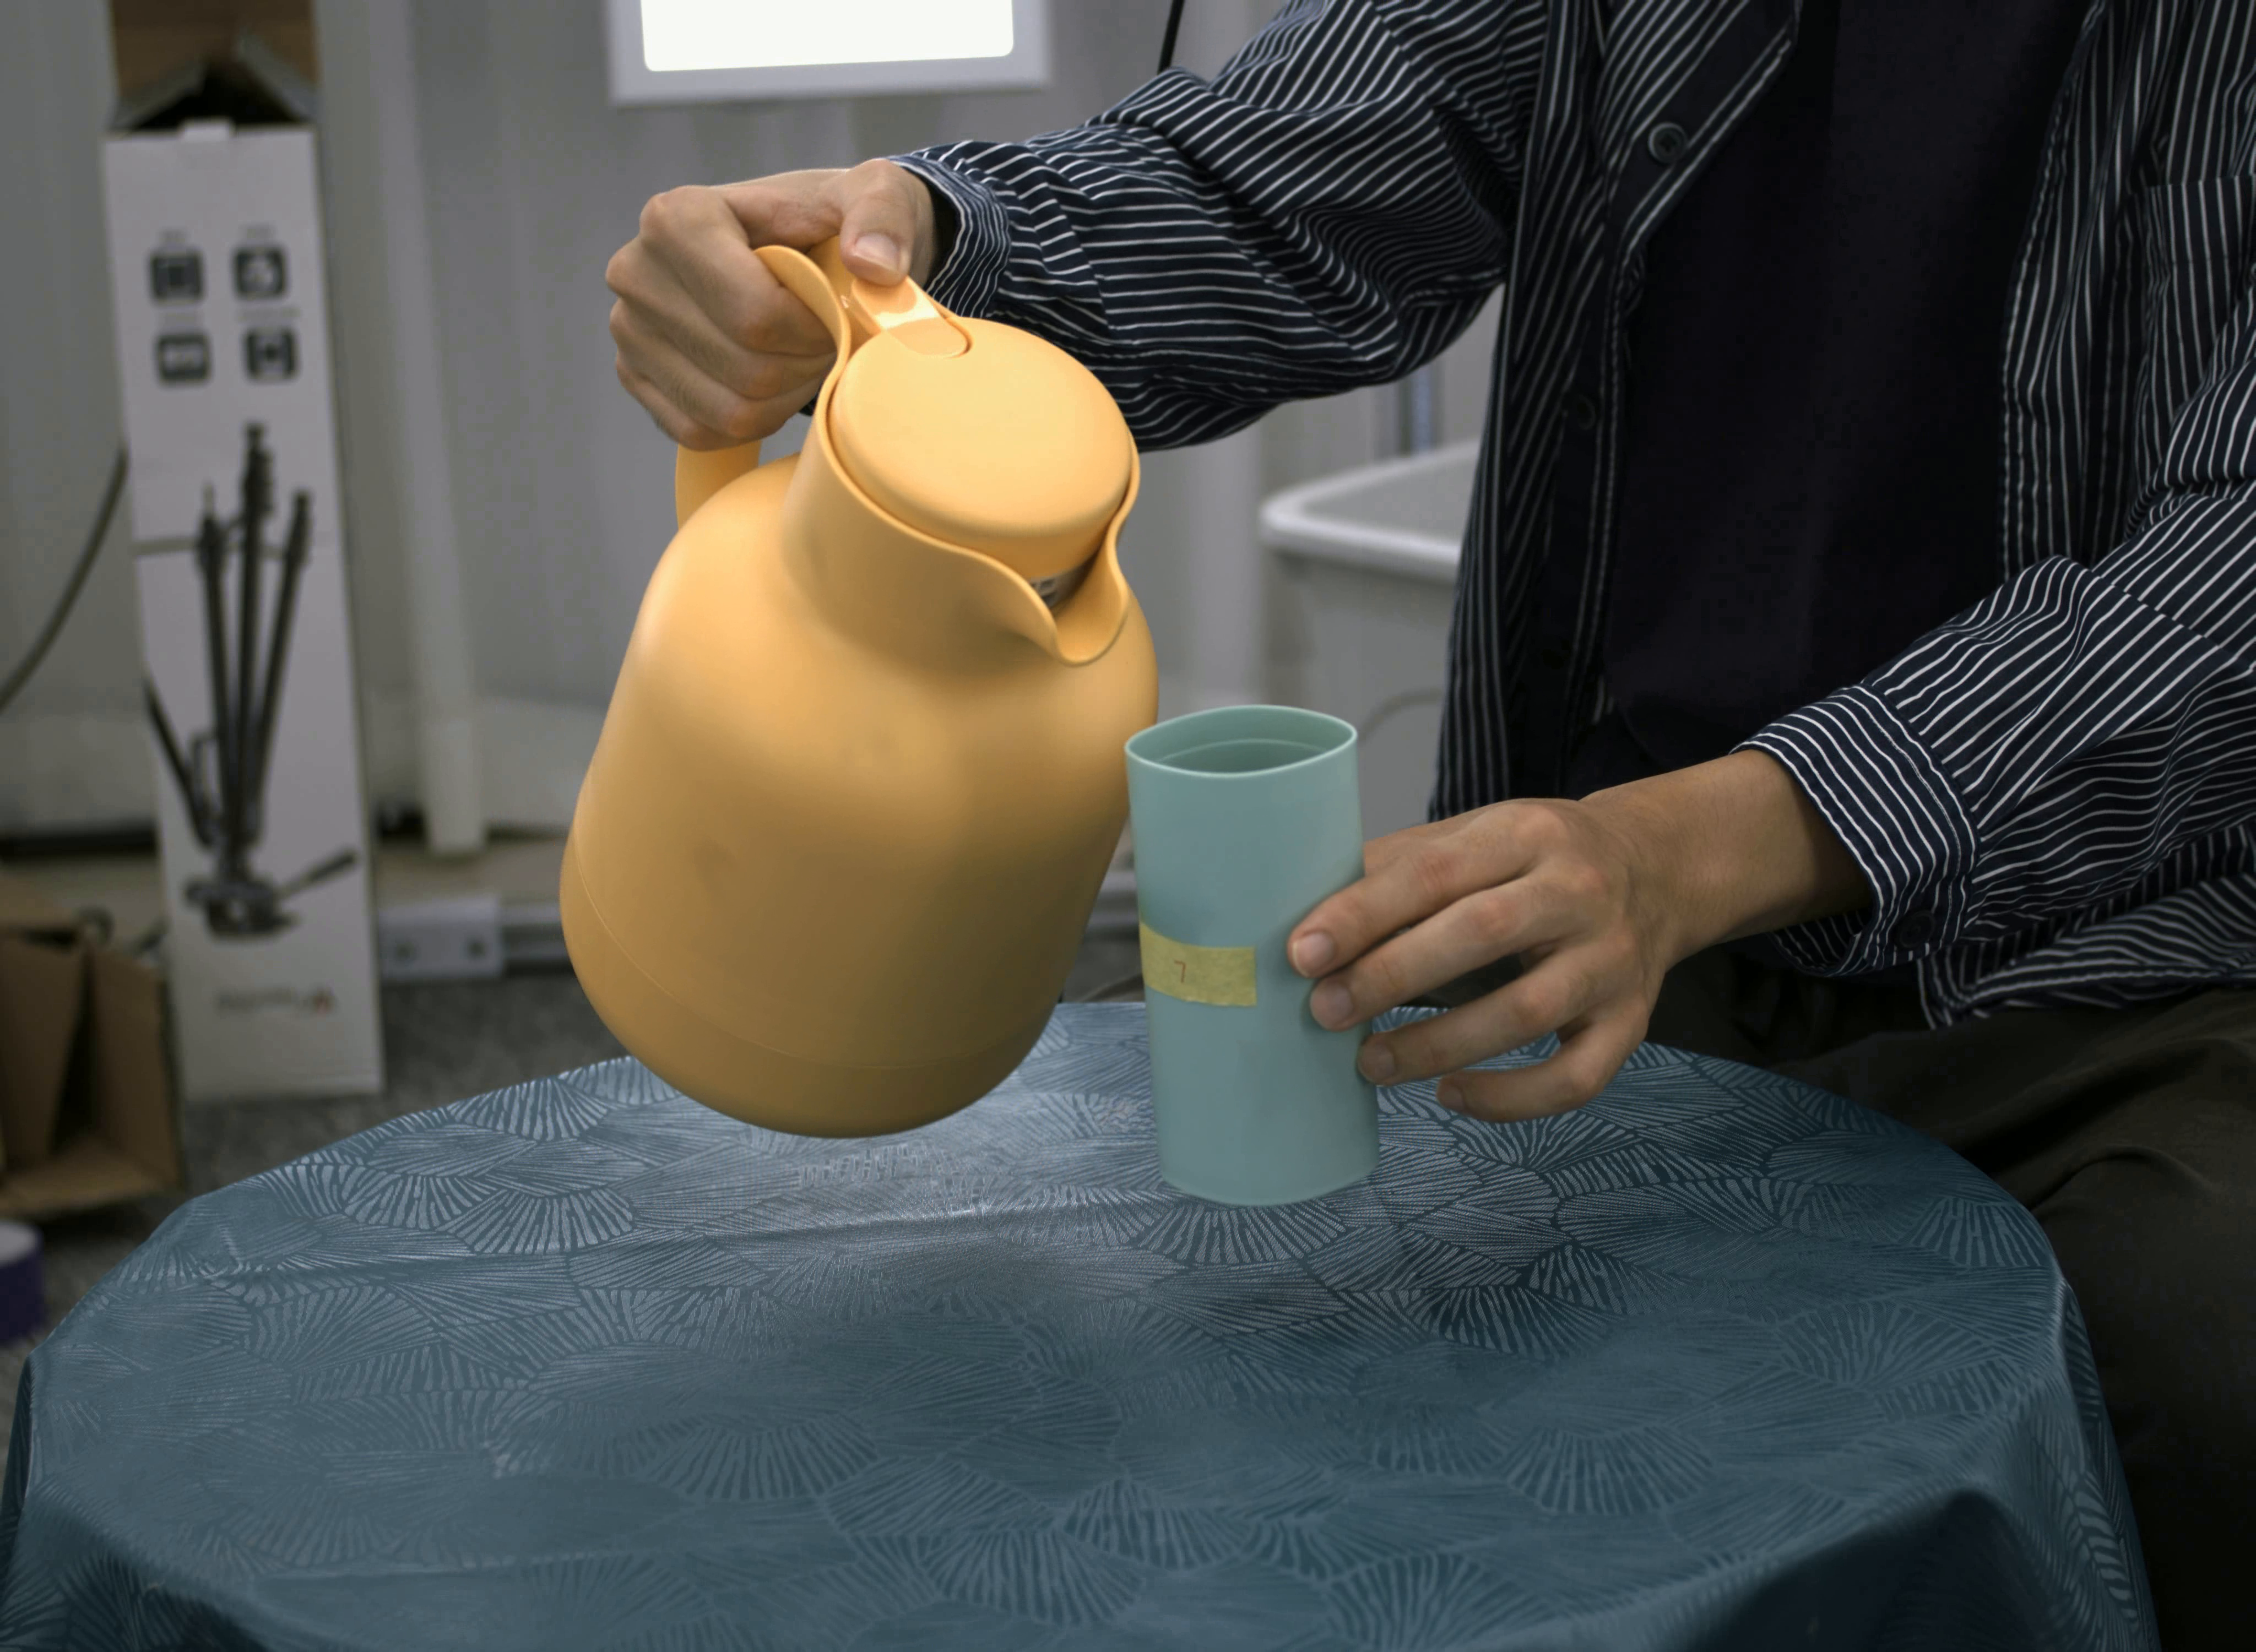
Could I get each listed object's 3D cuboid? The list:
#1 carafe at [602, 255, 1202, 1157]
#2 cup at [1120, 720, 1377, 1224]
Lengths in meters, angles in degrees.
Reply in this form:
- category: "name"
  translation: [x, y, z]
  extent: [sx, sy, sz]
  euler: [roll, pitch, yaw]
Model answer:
- category: "carafe"
  translation: [-0.069, -0.044, 1.669]
  extent: [0.163, 0.258, 0.205]
  euler: [-14, 55, -33]
- category: "cup"
  translation: [0.037, 0.041, 1.572]
  extent: [0.066, 0.131, 0.067]
  euler: [-4, 16, 1]
